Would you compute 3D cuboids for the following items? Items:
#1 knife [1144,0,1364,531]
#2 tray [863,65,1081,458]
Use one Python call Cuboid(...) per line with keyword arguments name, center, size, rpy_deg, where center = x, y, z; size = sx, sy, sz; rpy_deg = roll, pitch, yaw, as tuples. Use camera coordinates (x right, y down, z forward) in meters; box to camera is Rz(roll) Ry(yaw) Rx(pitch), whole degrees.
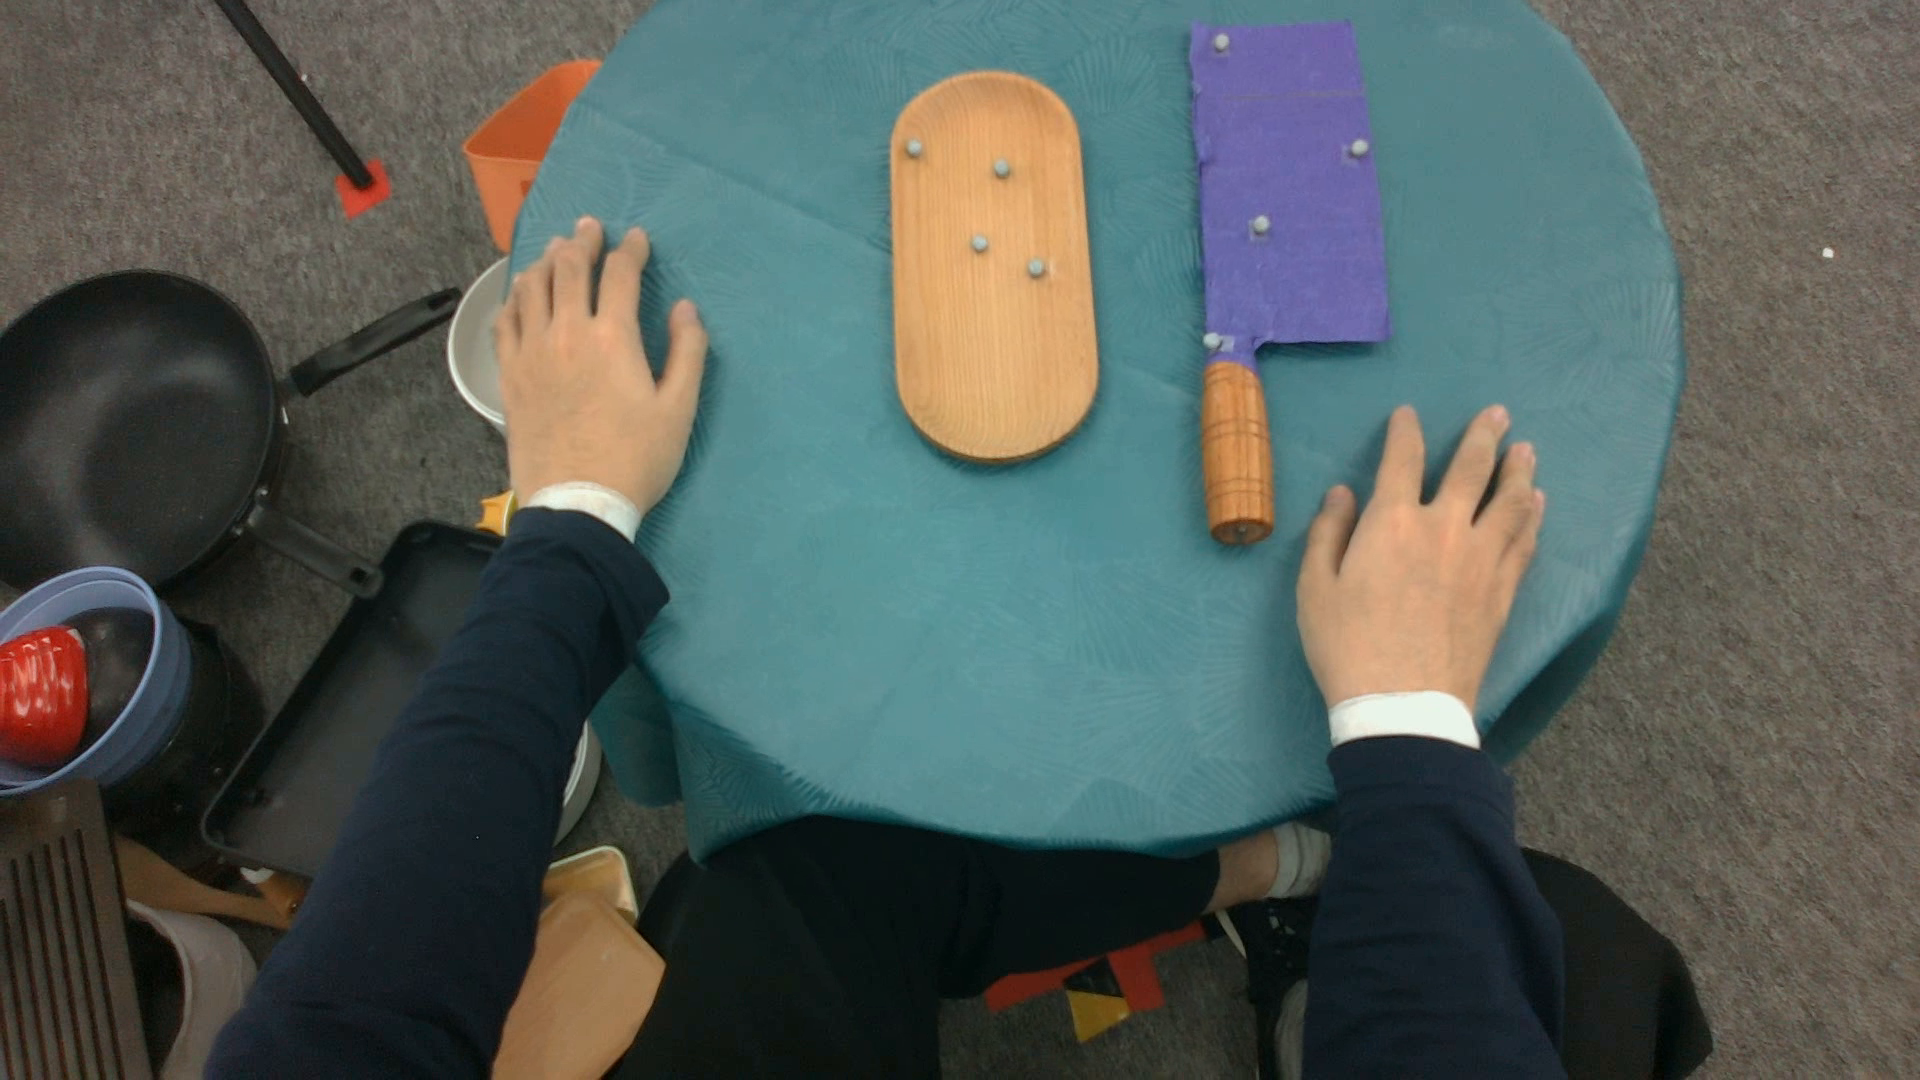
Cuboid(name="knife", center=(0.154, -0.154, 0.697), size=(0.104, 0.032, 0.316), rpy_deg=(-1, 67, 2))
Cuboid(name="tray", center=(0.004, -0.147, 0.706), size=(0.101, 0.020, 0.232), rpy_deg=(-5, 69, 1))
